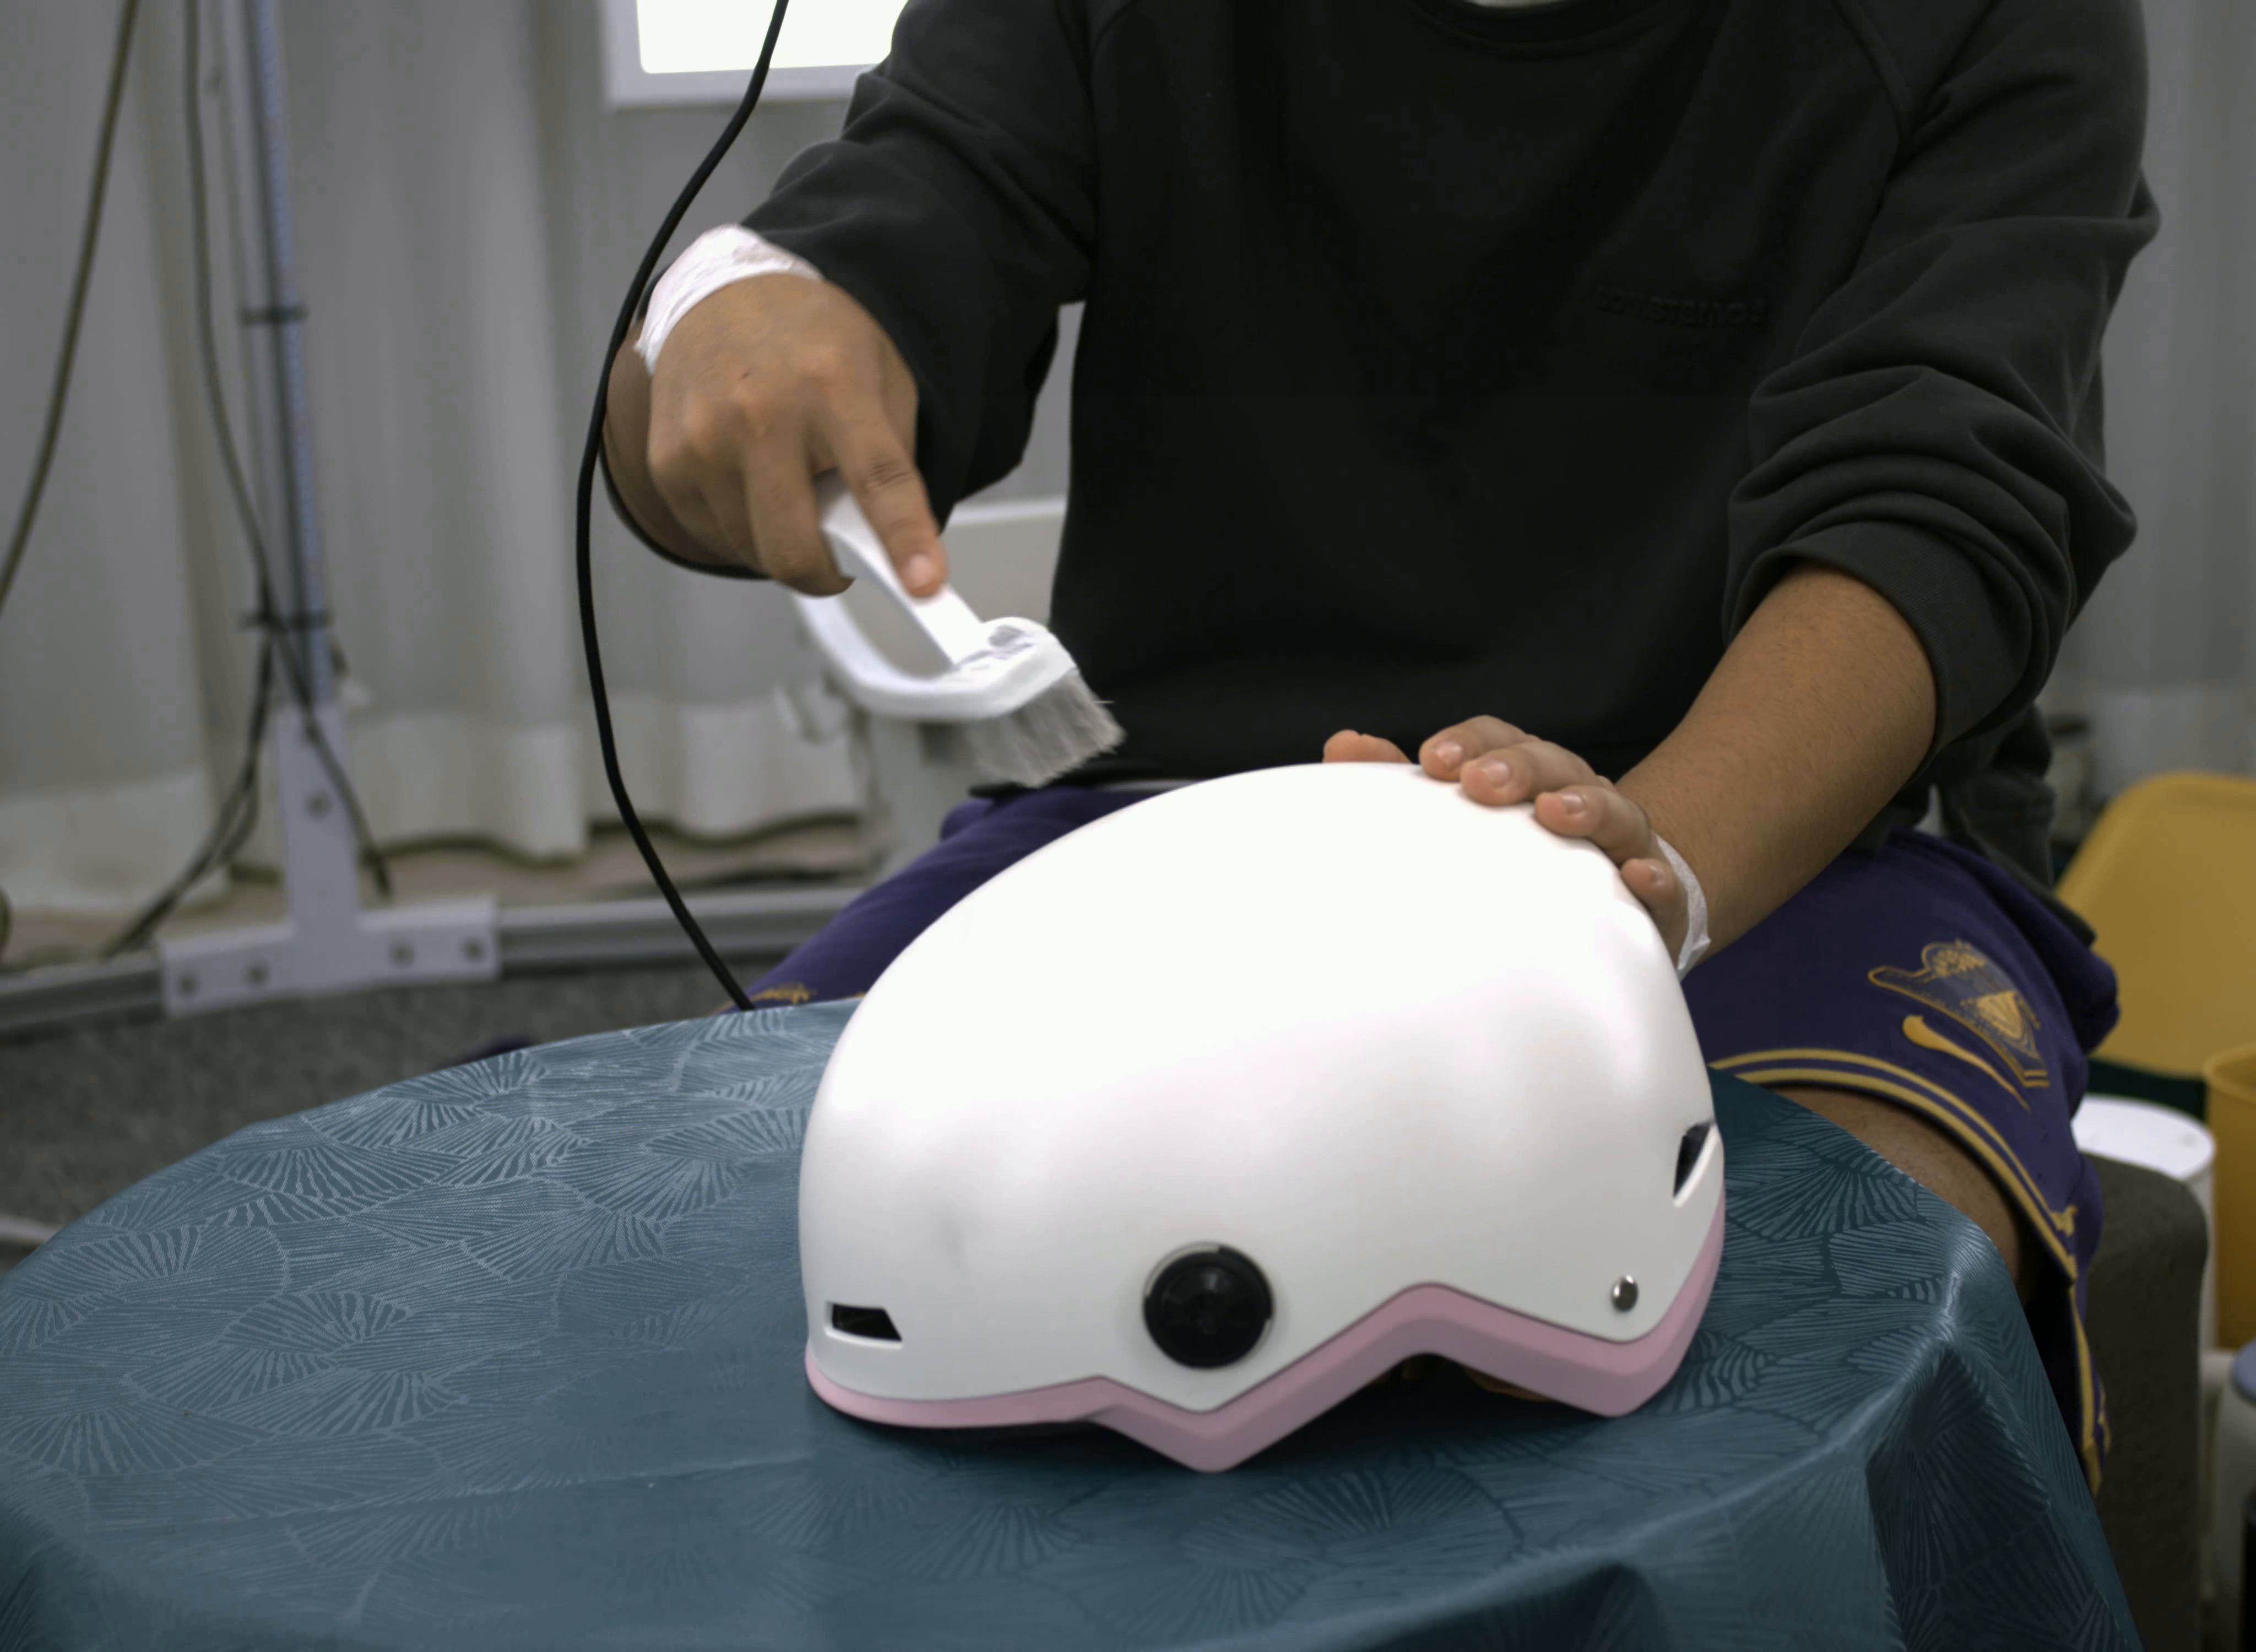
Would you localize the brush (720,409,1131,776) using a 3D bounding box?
[{"bbox_3d":[-0.064,-0.071,1.673,0.034,0.049,0.246,-30,32,-13],"label":"brush"}]

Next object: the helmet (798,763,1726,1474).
[{"bbox_3d":[0.035,0.070,1.564,0.268,0.166,0.239,-4,15,-2],"label":"helmet"}]
